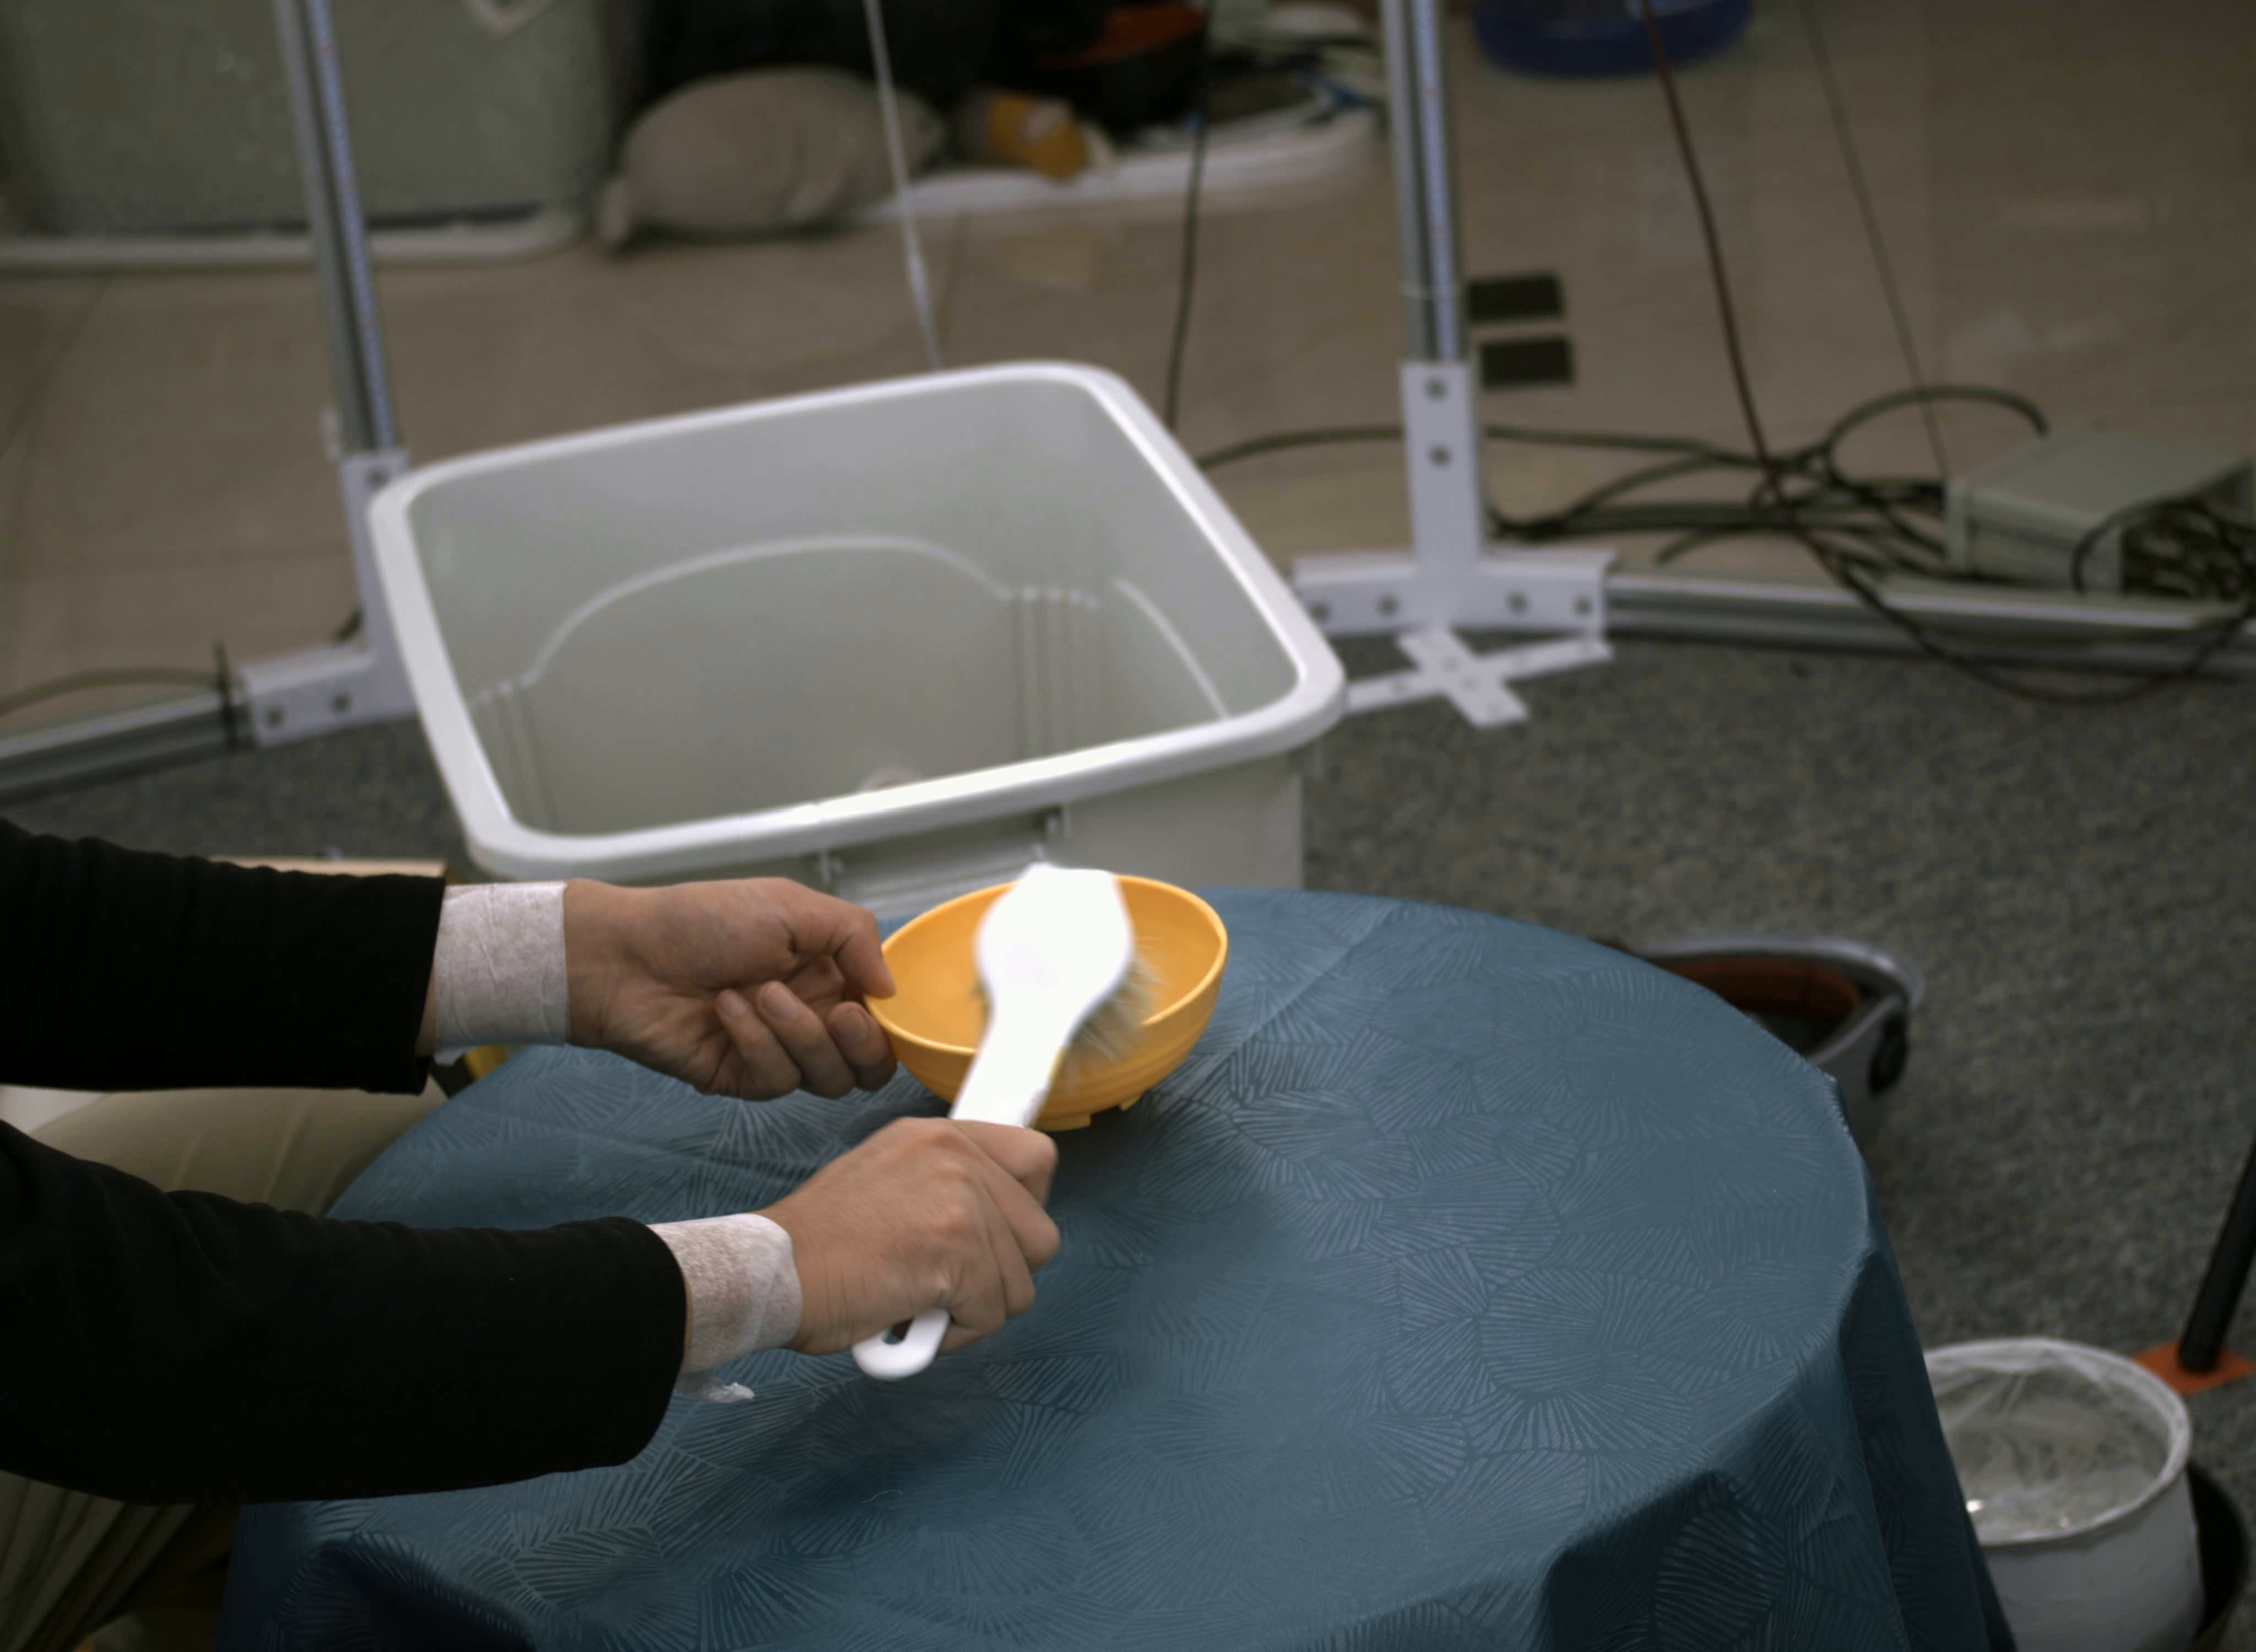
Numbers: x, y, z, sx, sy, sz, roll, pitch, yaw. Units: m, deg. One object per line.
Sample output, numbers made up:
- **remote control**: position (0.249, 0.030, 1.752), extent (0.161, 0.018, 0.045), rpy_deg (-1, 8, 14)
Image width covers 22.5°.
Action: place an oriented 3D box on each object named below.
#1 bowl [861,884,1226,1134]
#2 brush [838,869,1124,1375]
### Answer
- **bowl**: position (-0.028, 0.079, 2.212), extent (0.145, 0.061, 0.143), rpy_deg (-8, 25, 4)
- **brush**: position (-0.060, 0.118, 2.065), extent (0.068, 0.057, 0.262), rpy_deg (2, 43, 14)
